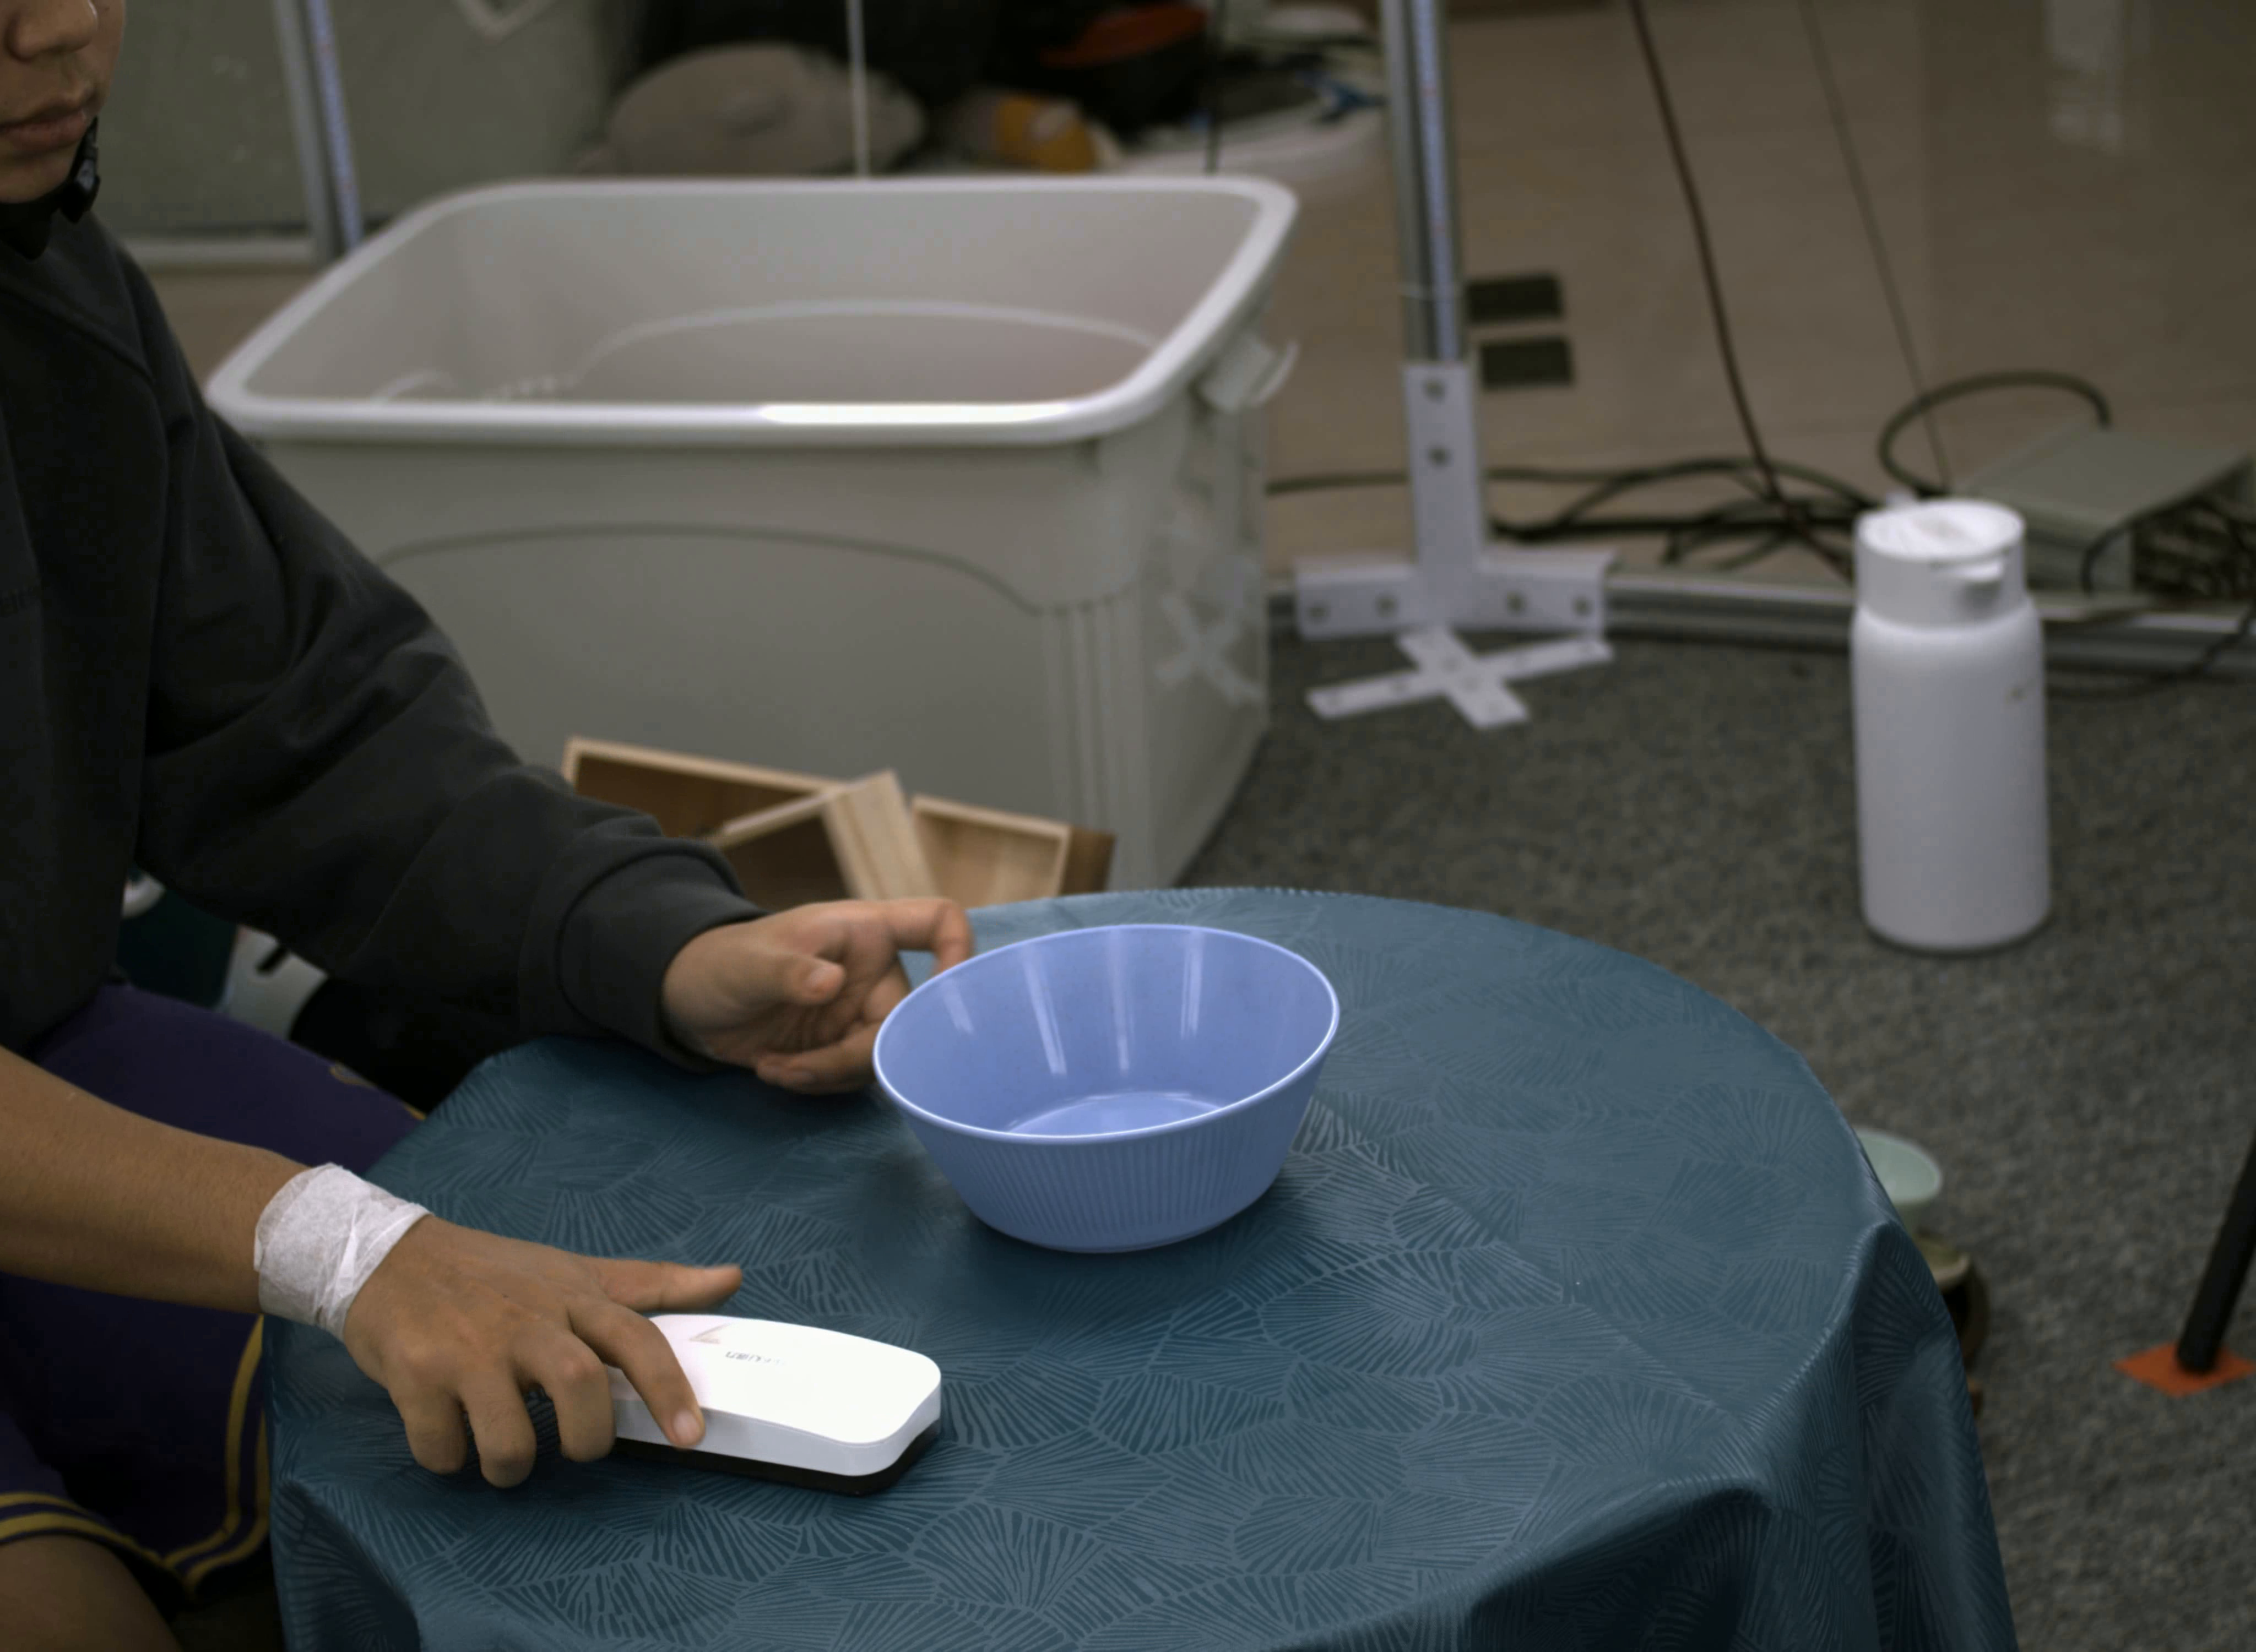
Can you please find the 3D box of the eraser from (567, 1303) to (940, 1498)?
[{"bbox_3d":[-0.132,0.201,2.007,0.131,0.035,0.062,9,28,26],"label":"eraser"}]

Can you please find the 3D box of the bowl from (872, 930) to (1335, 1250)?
[{"bbox_3d":[-0.006,0.105,2.136,0.176,0.071,0.173,-5,24,2],"label":"bowl"}]
